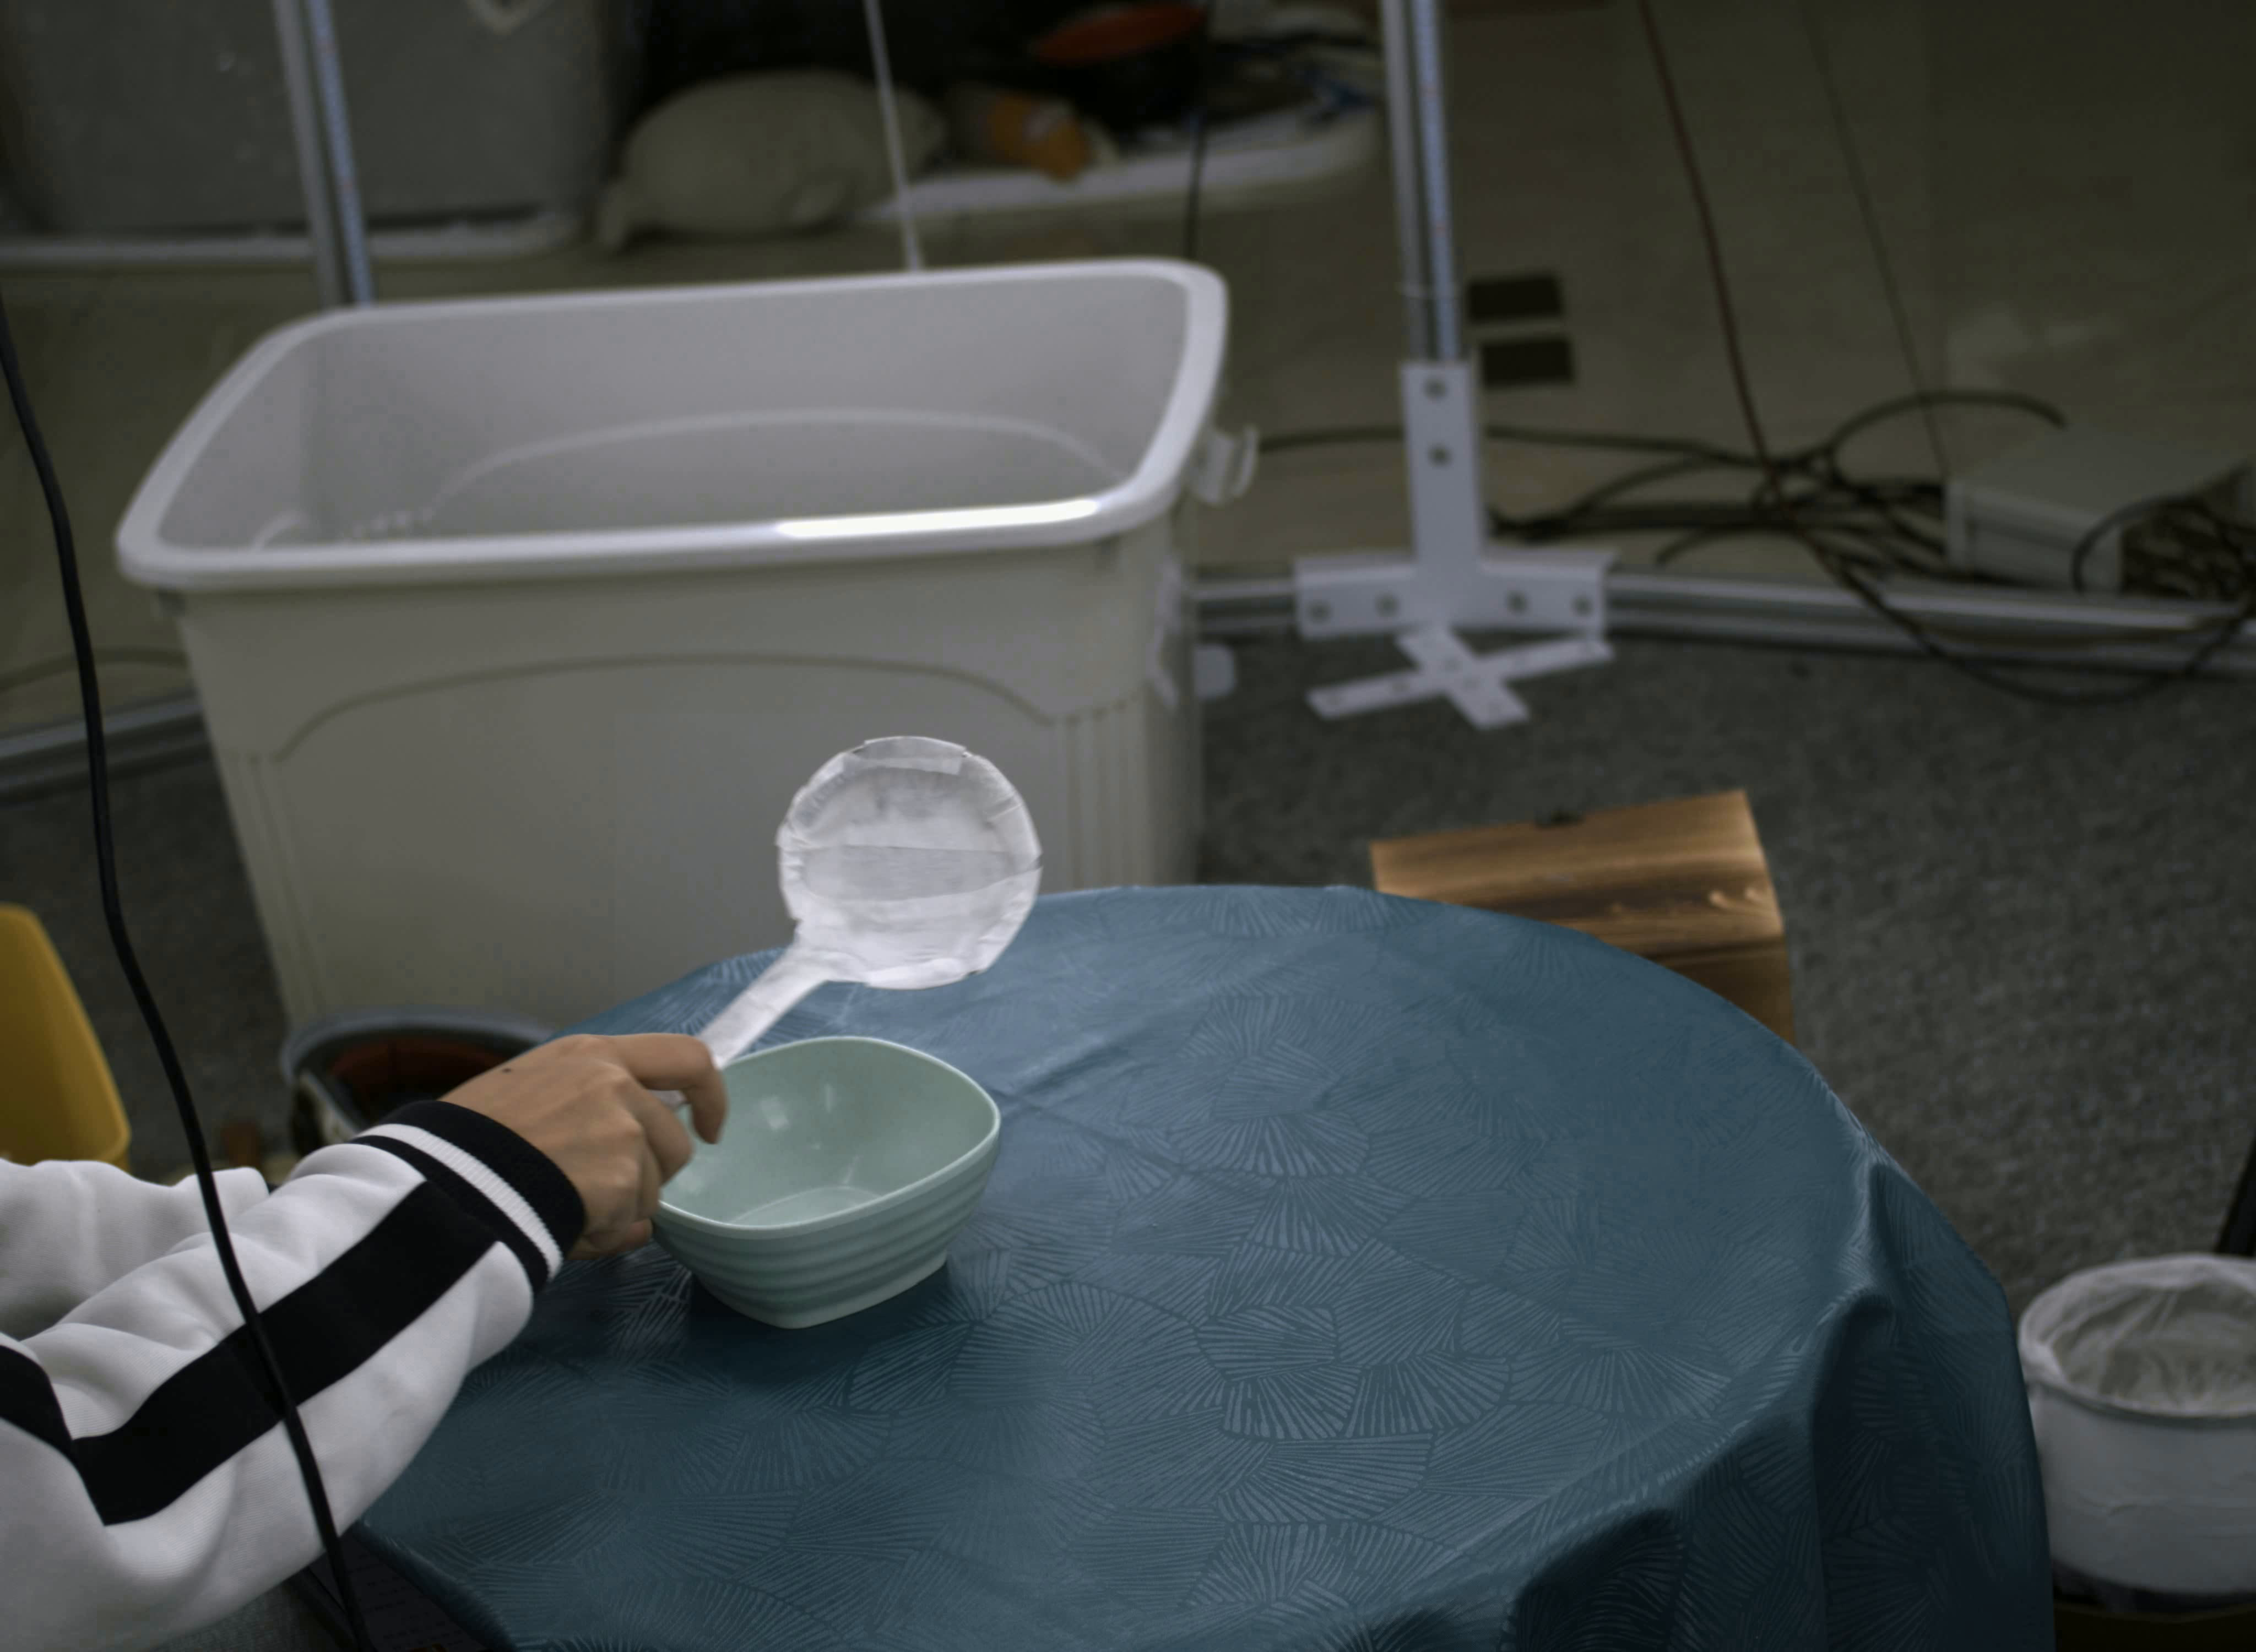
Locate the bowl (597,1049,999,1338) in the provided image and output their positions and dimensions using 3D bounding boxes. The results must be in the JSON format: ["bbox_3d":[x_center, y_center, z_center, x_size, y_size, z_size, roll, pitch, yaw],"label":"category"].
[{"bbox_3d":[-0.120,0.142,2.110,0.151,0.059,0.149,-5,24,3],"label":"bowl"}]

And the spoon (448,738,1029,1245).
[{"bbox_3d":[-0.140,0.056,1.971,0.100,0.060,0.274,46,46,5],"label":"spoon"}]
